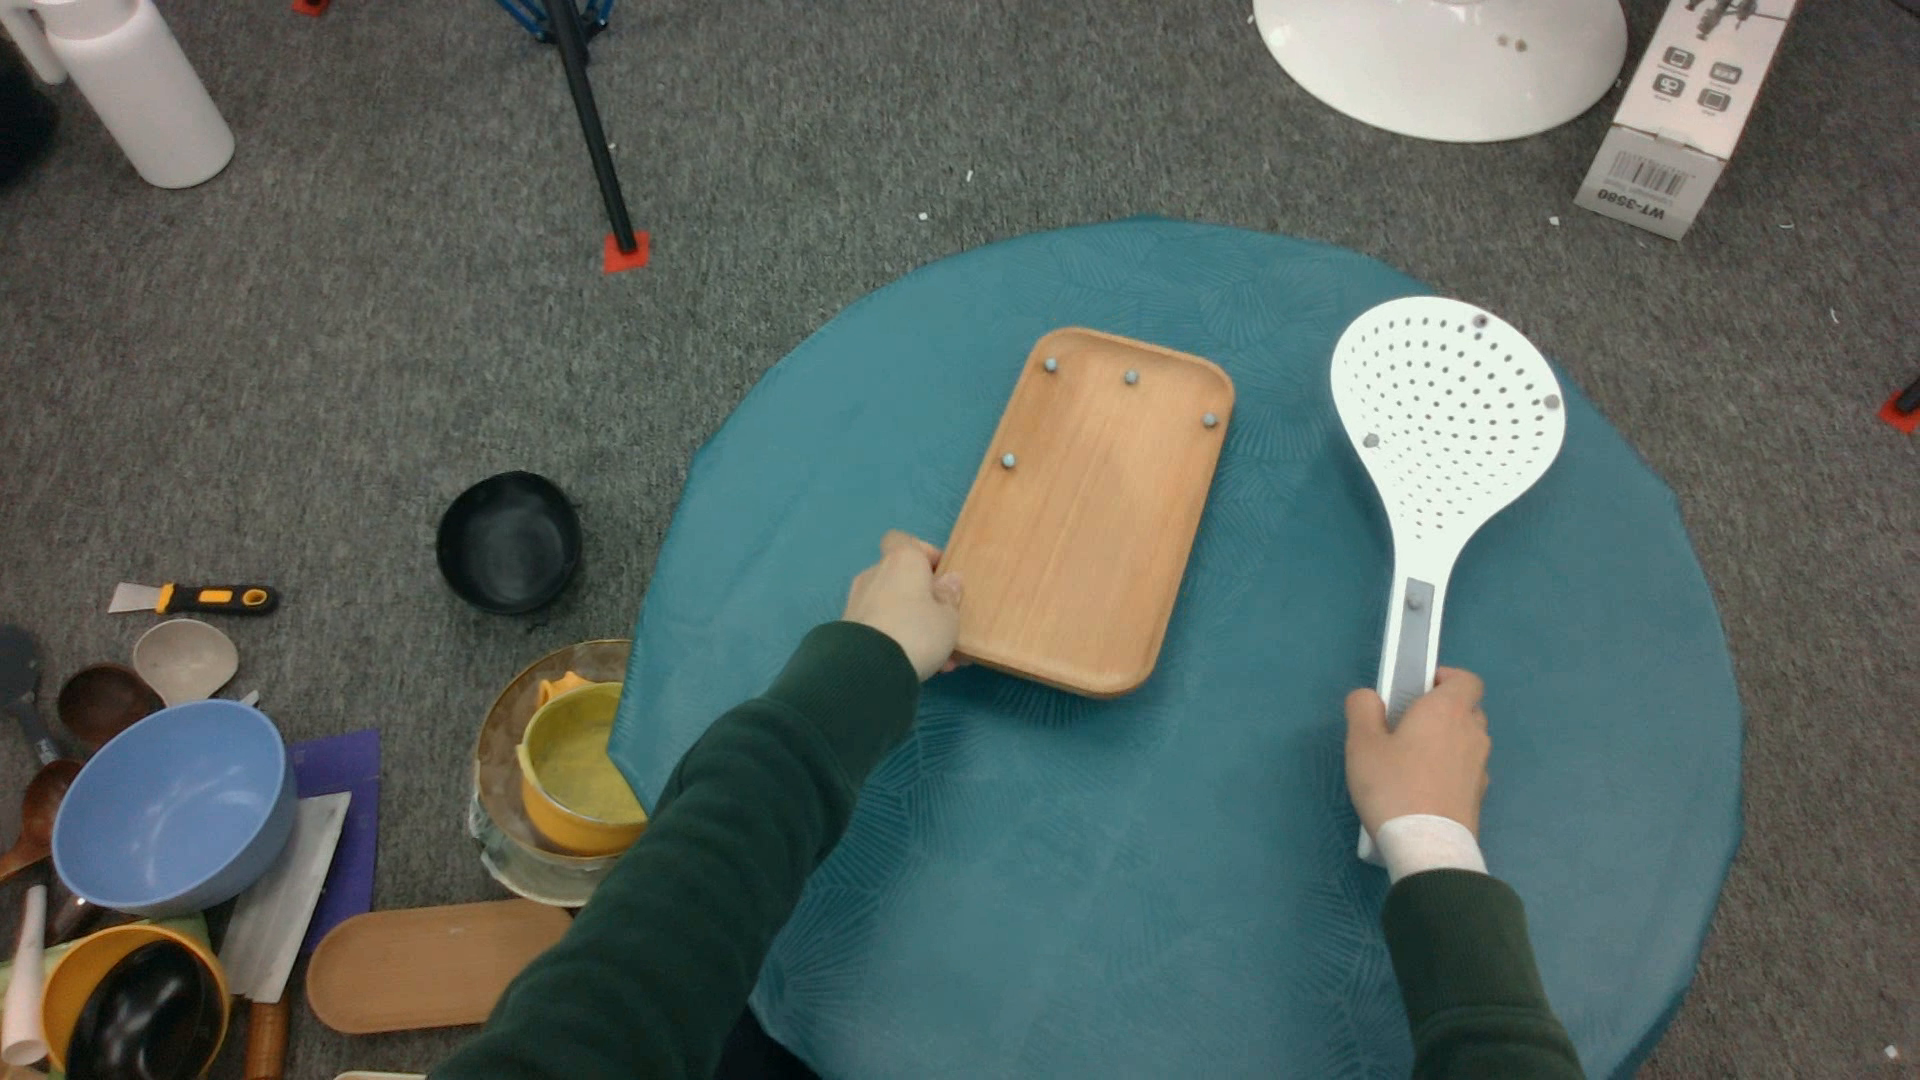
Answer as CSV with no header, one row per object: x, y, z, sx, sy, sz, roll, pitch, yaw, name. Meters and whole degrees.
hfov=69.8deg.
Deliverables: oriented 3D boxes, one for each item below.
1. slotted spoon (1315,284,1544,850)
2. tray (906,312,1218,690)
0.242,0.001,0.752,0.136,0.045,0.351,17,57,2,slotted spoon
0.063,-0.030,0.778,0.130,0.023,0.252,15,55,10,tray
